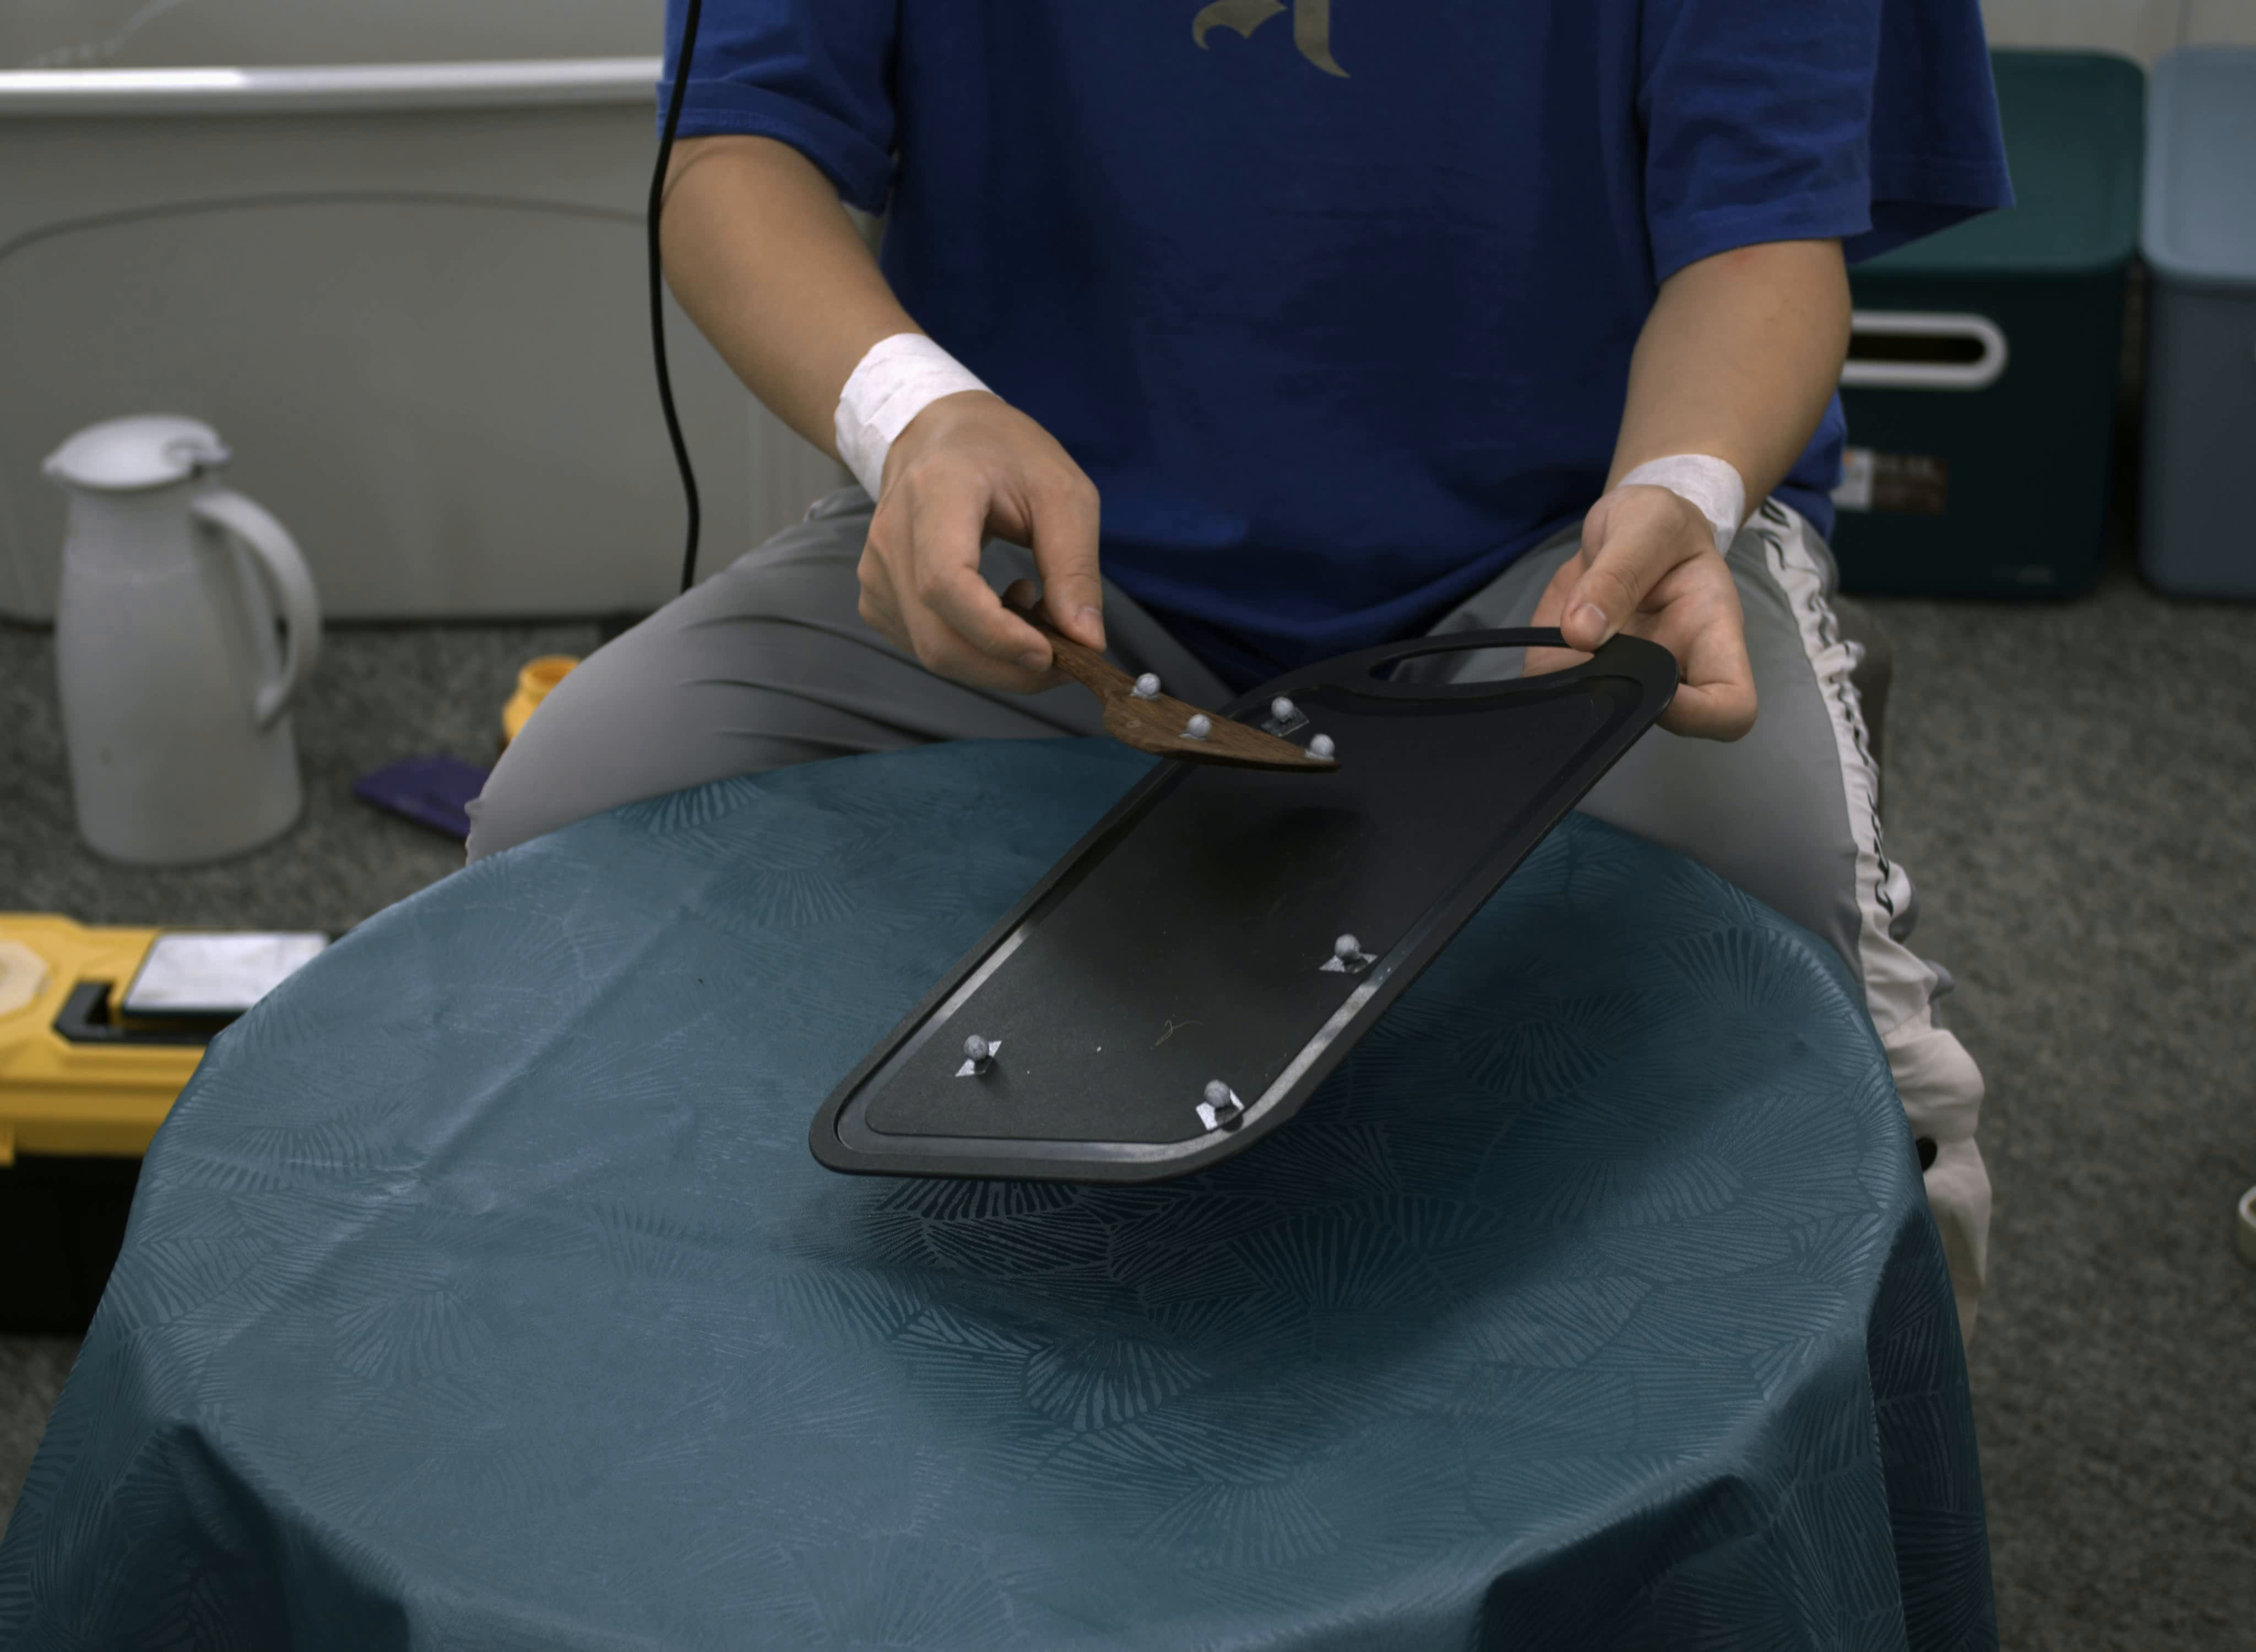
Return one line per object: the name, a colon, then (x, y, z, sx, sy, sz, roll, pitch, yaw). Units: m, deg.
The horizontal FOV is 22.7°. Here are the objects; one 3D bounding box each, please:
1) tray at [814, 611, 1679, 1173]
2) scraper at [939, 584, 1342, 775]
tray: (0.044, 0.016, 1.872, 0.209, 0.010, 0.331, -2, 32, 43)
scraper: (-0.007, -0.051, 1.952, 0.076, 0.011, 0.212, 8, 14, -34)
